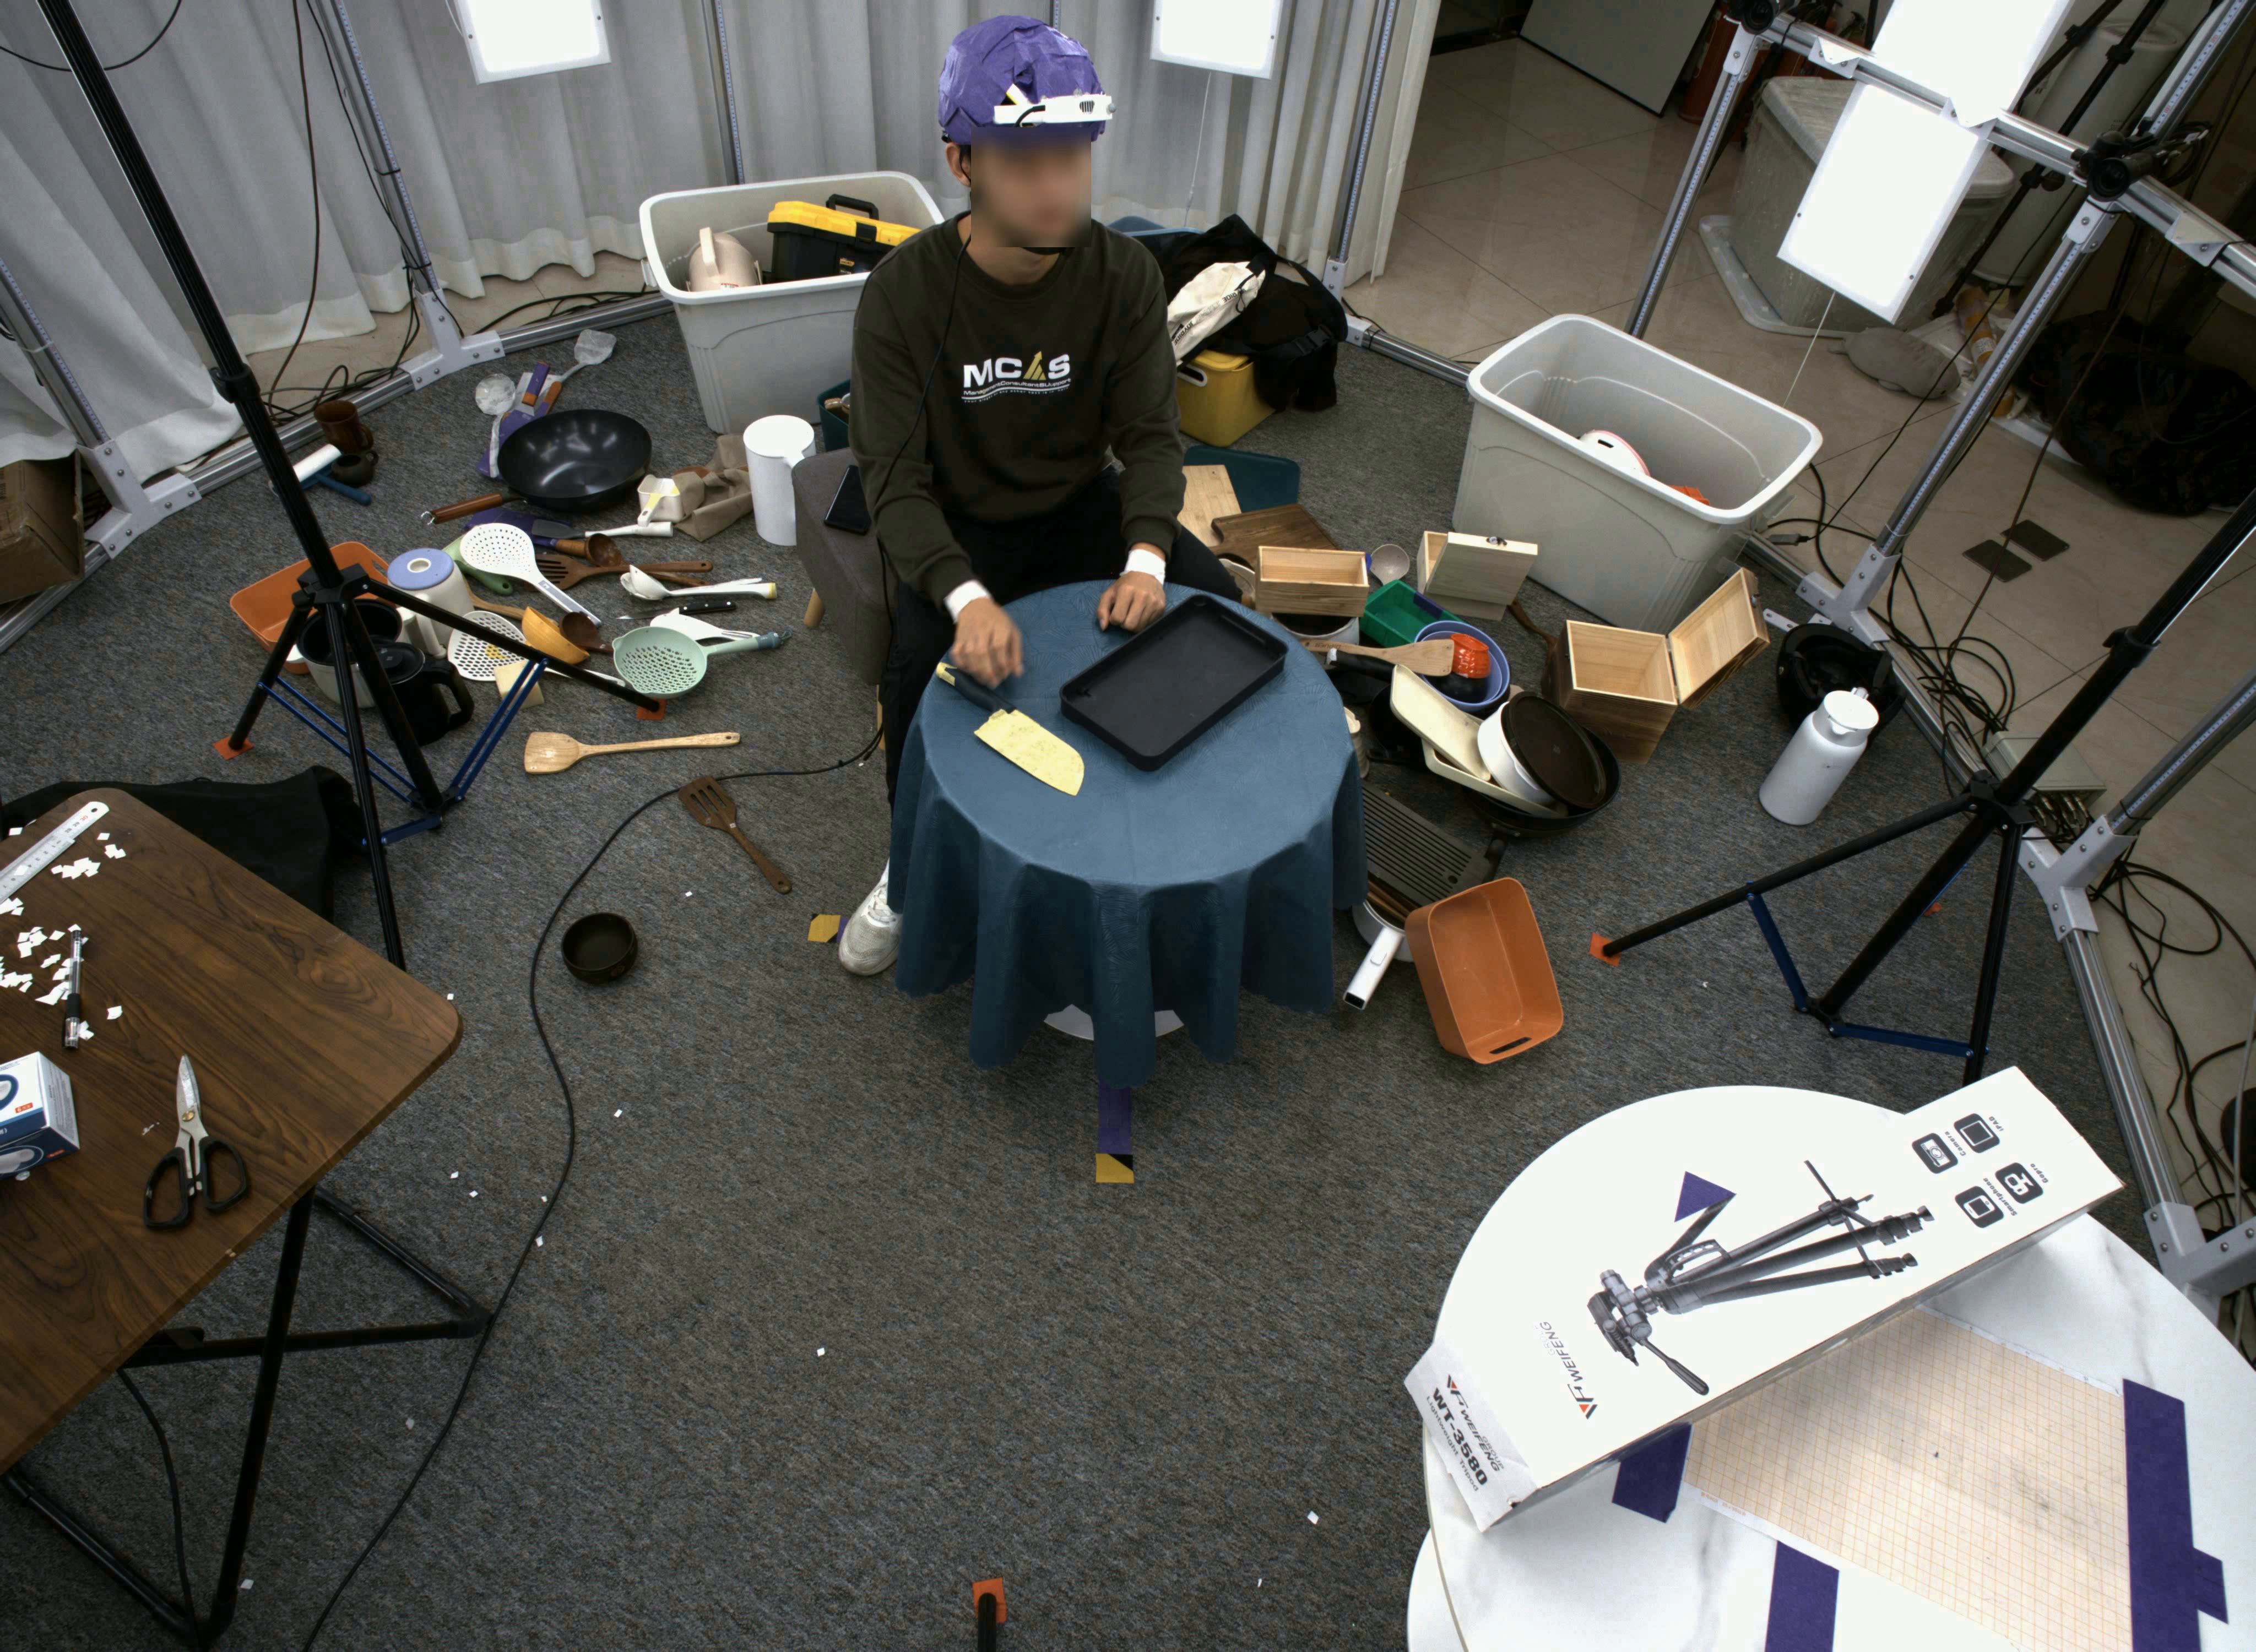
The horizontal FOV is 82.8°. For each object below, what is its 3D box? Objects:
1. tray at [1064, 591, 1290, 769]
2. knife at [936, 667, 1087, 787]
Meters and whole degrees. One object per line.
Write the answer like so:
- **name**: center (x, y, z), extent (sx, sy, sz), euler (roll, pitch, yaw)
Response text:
- **tray**: center (0.072, -0.215, 1.835), extent (0.187, 0.036, 0.321), euler (34, 55, 24)
- **knife**: center (-0.168, -0.135, 1.764), extent (0.293, 0.026, 0.082), euler (37, 55, 24)
